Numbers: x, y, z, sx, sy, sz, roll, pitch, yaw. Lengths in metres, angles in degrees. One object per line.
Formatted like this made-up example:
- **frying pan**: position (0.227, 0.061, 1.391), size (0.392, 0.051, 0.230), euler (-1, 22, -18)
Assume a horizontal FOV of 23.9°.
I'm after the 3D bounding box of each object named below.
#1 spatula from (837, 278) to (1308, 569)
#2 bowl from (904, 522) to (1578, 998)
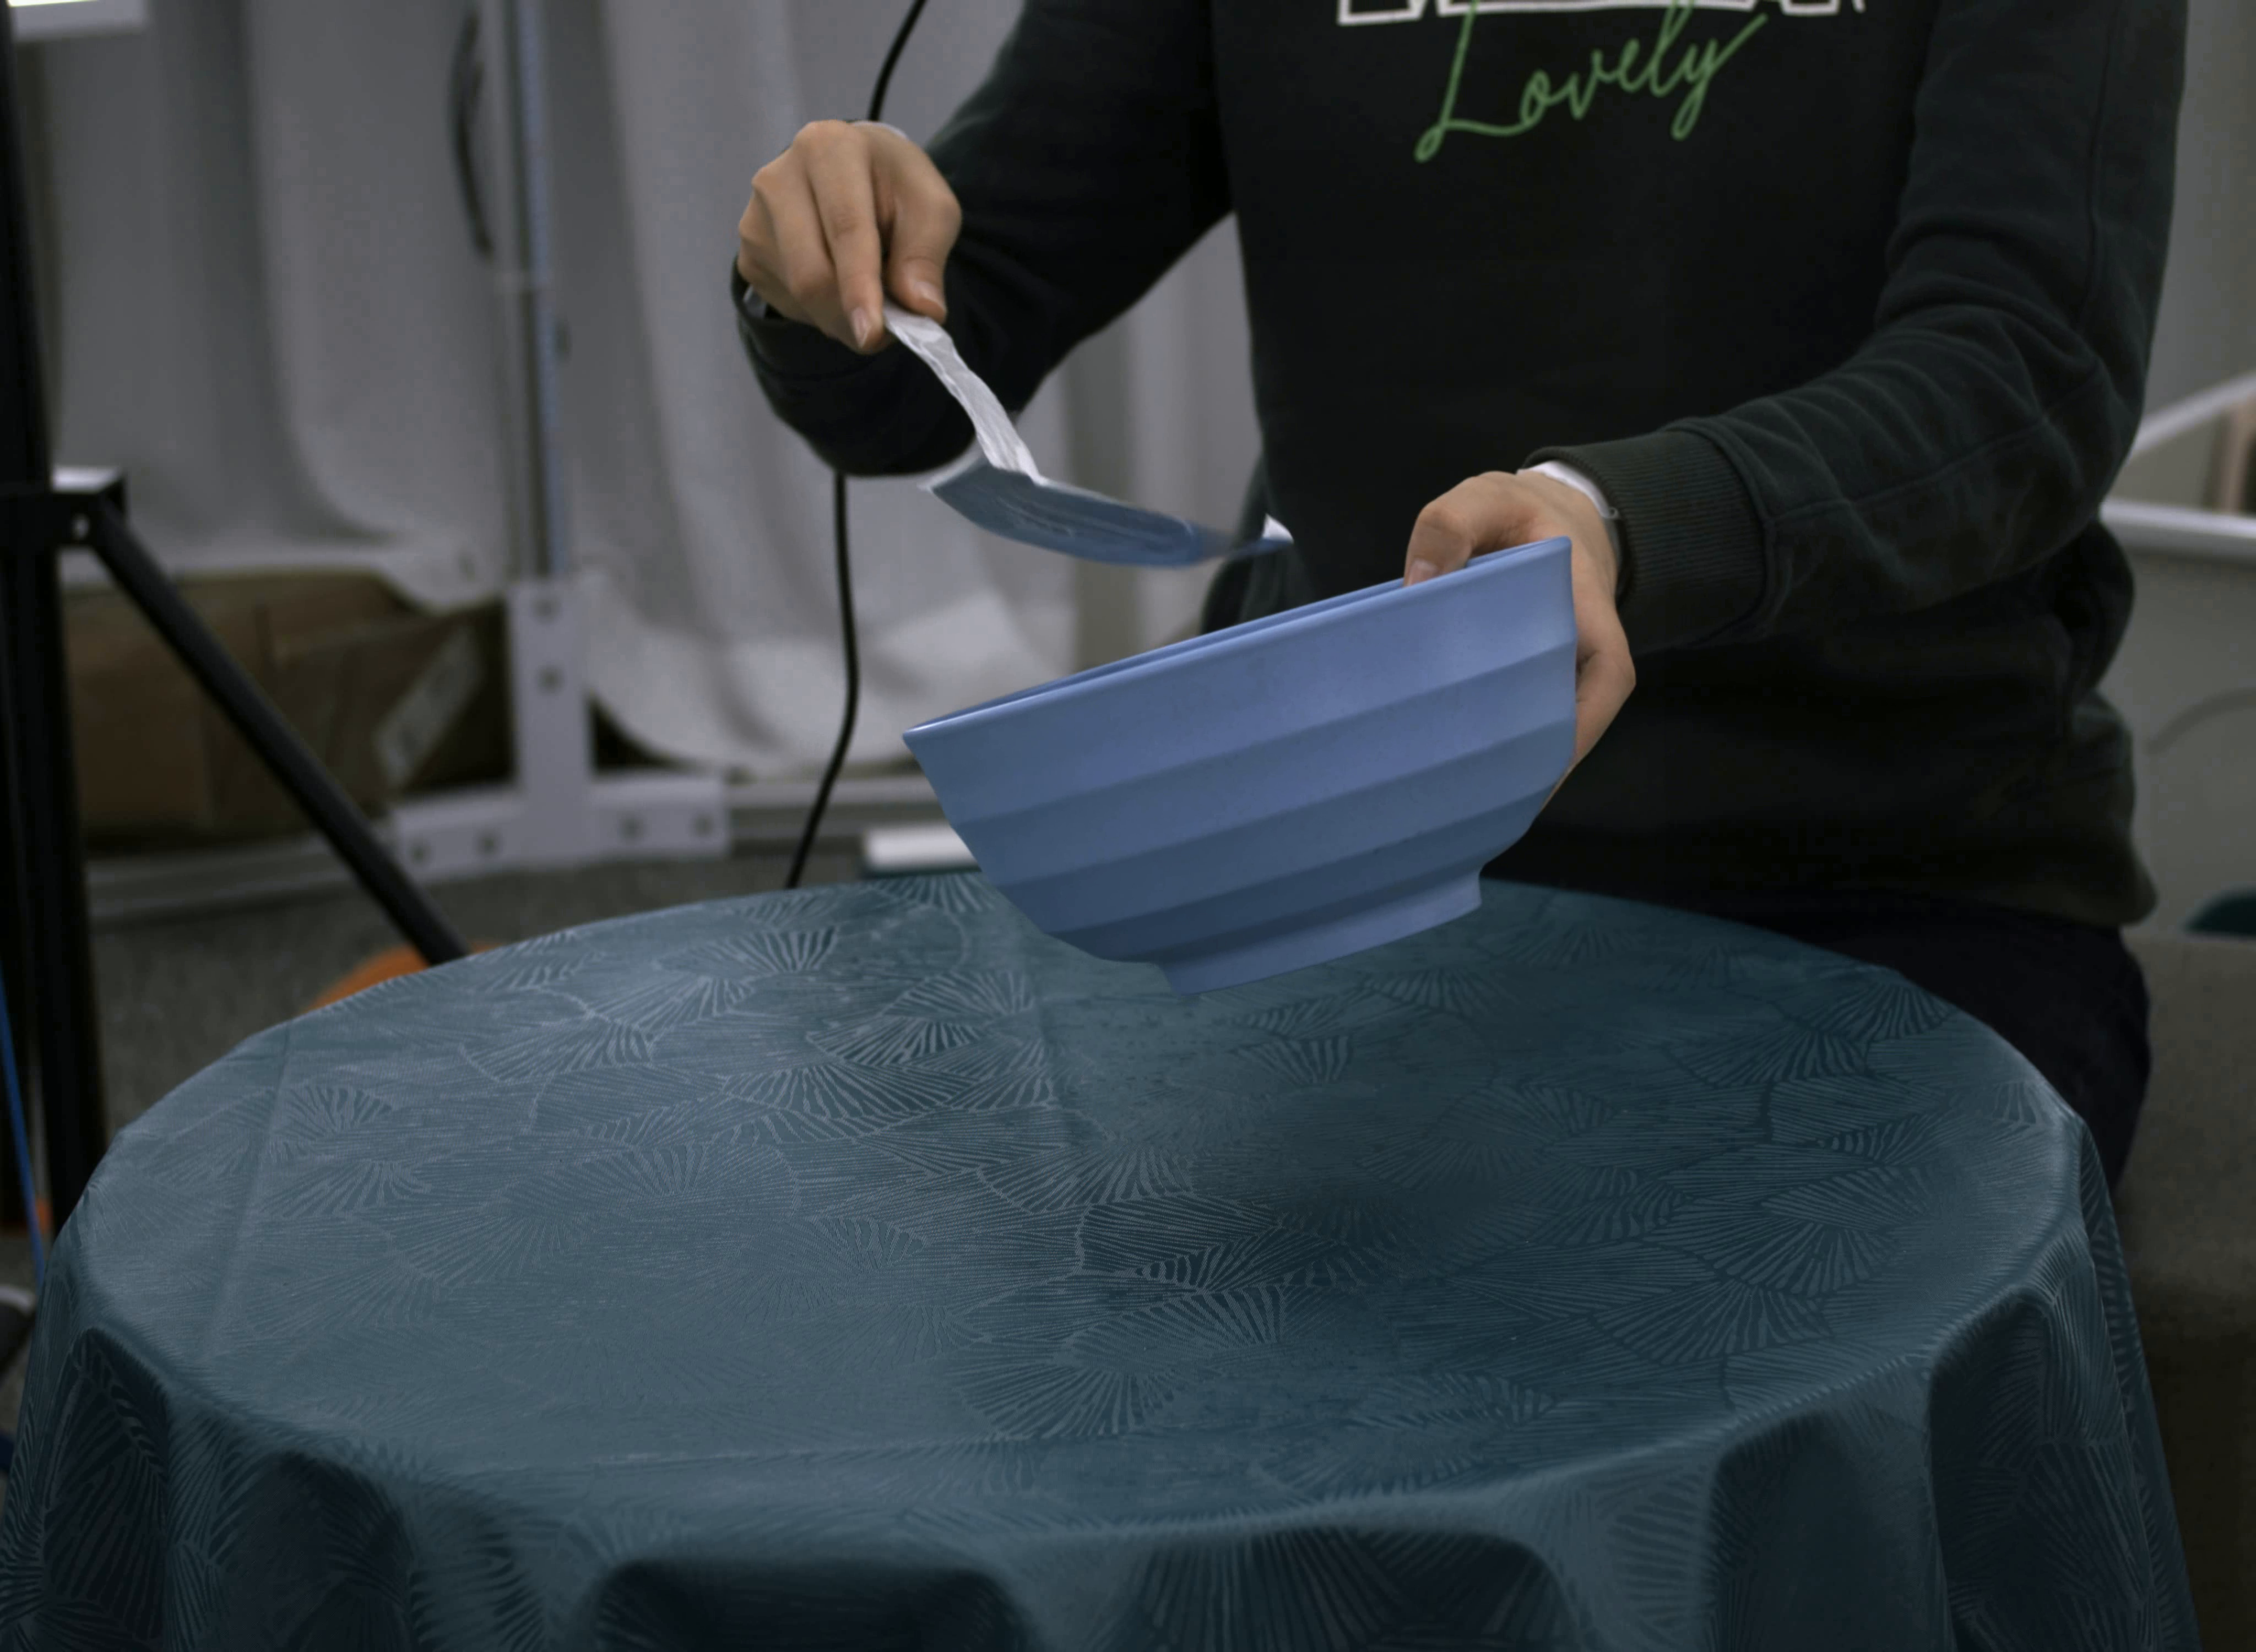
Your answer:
- **spatula**: position (-0.042, -0.134, 1.636), size (0.097, 0.045, 0.371), euler (11, 18, -20)
- **bowl**: position (0.043, -0.010, 1.496), size (0.195, 0.096, 0.197), euler (-18, 3, -1)
